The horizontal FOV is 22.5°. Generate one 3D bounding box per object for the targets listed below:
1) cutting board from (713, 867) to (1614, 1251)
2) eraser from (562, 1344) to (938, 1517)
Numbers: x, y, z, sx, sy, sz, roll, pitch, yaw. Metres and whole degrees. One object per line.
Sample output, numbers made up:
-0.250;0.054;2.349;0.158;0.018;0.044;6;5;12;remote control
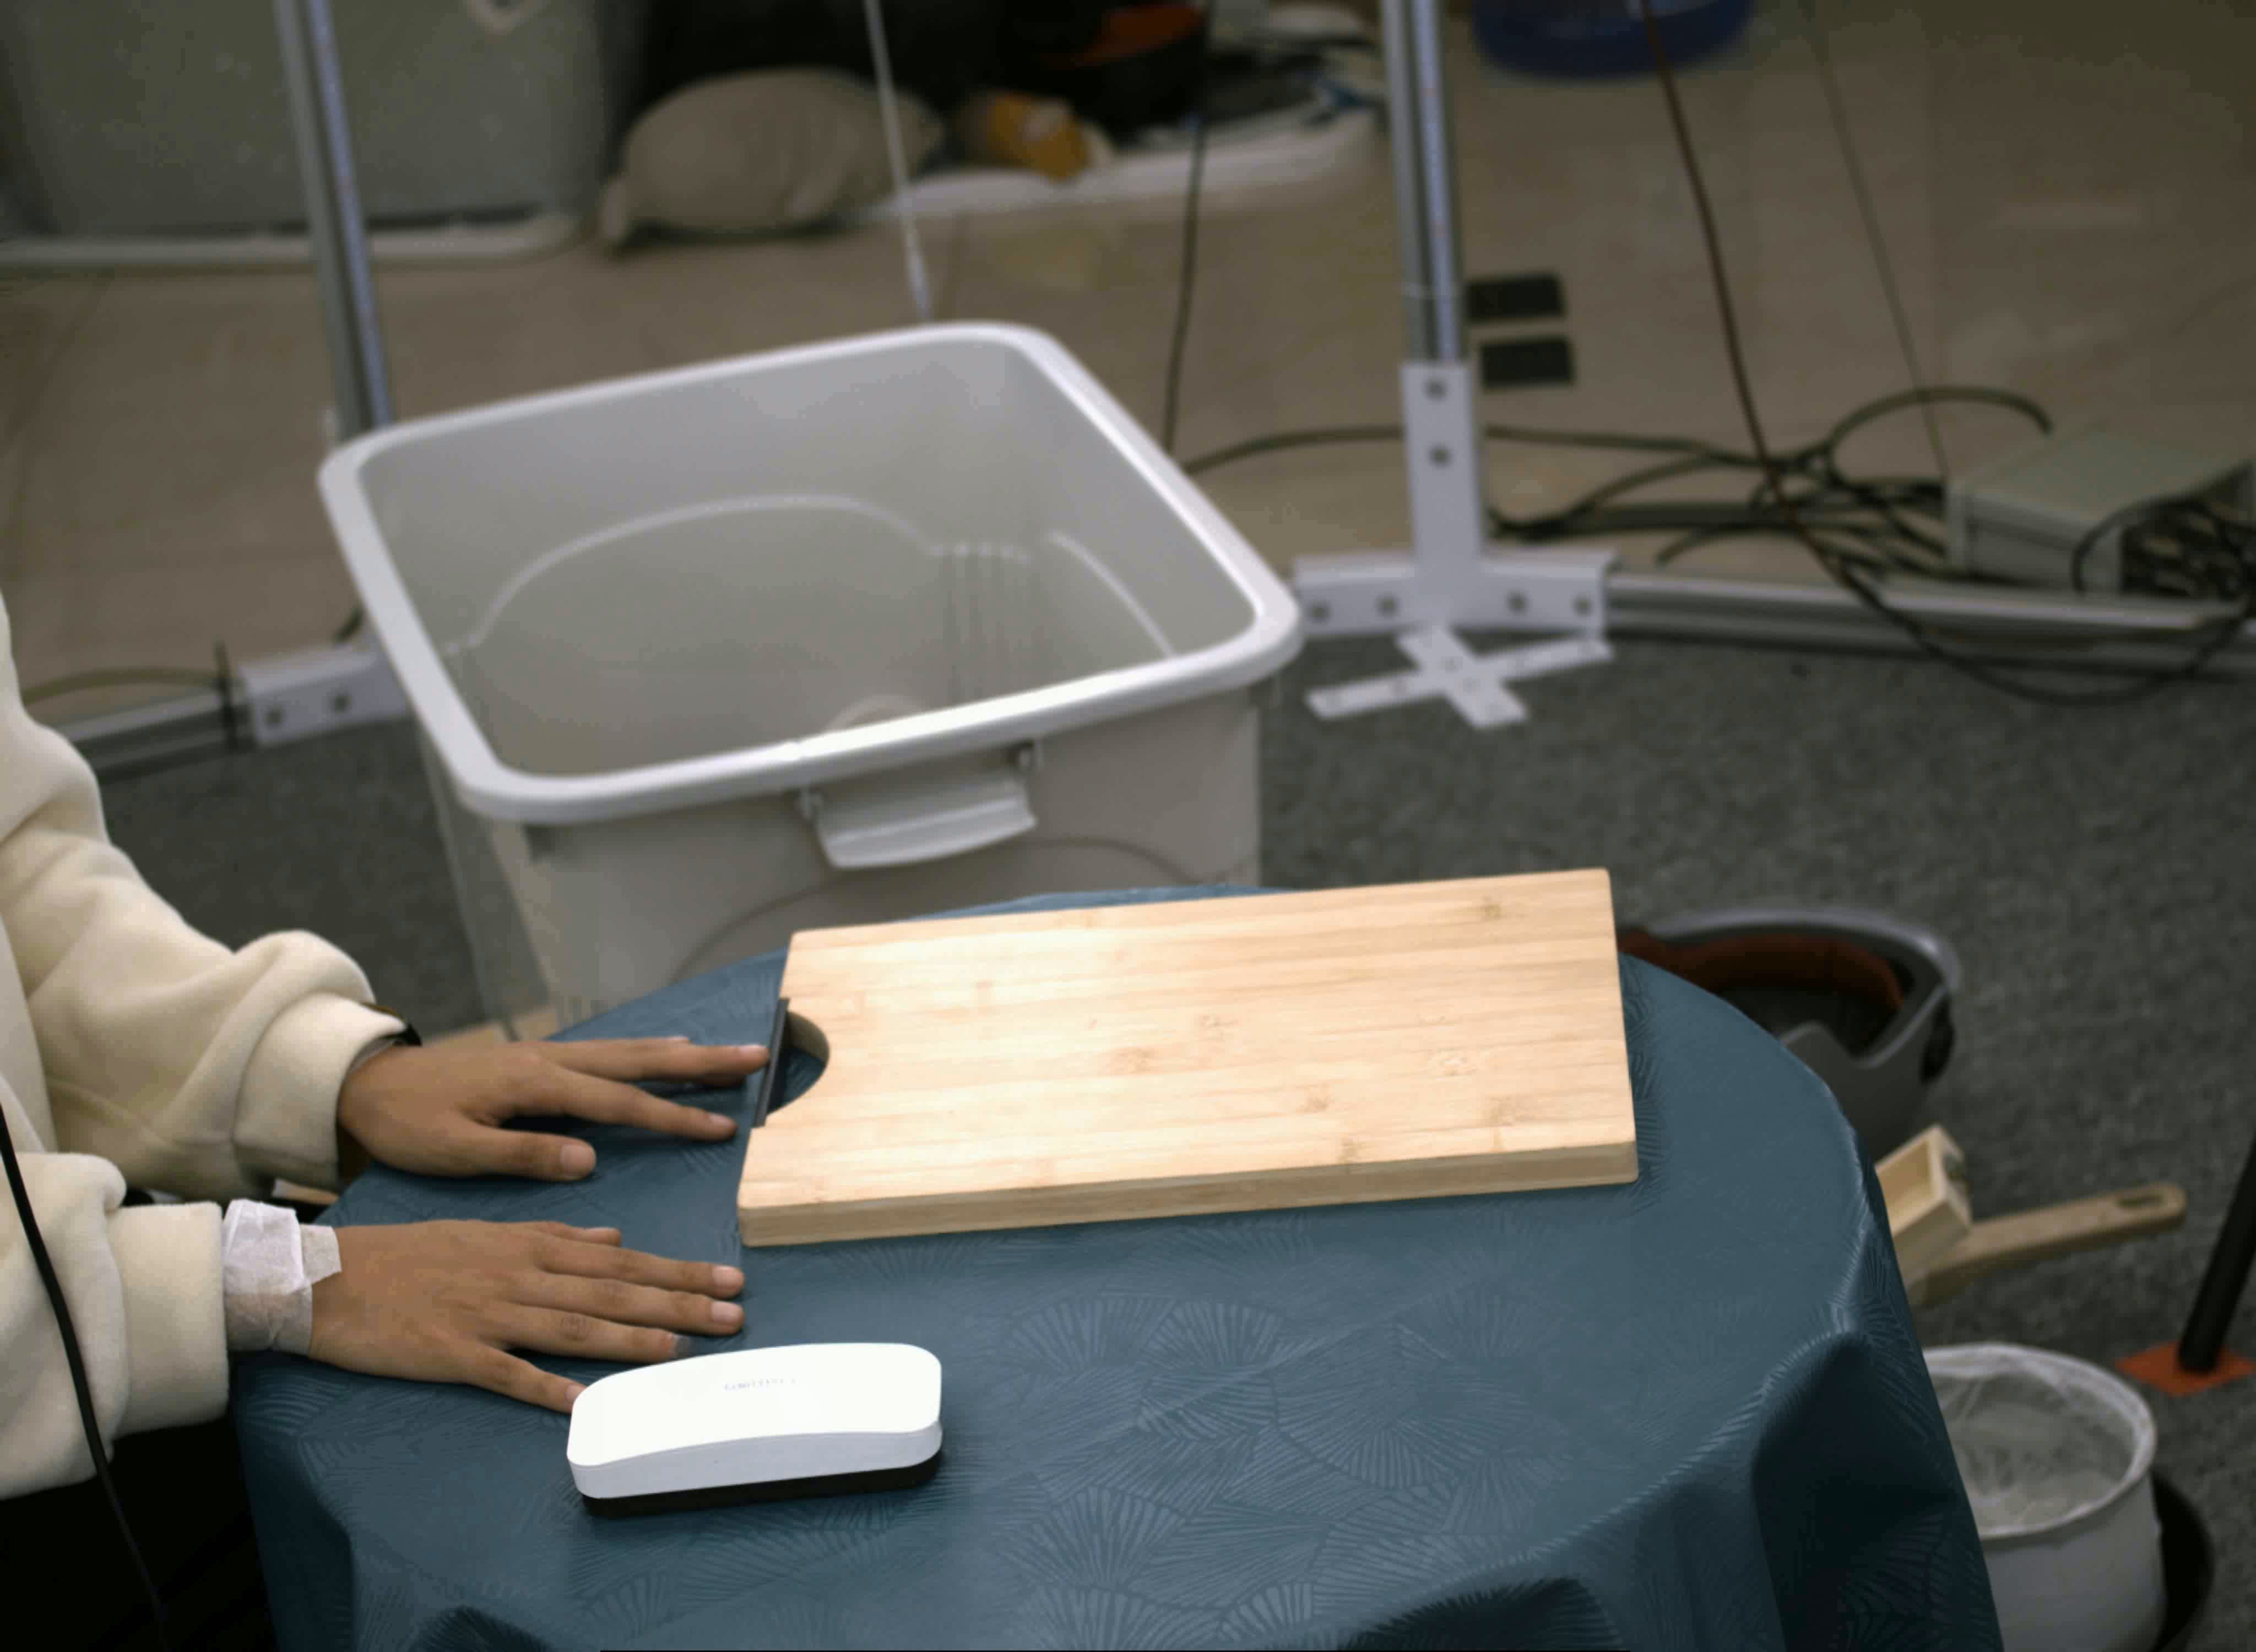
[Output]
0.020;0.090;2.231;0.348;0.024;0.247;-5;25;4;cutting board
-0.131;0.211;1.990;0.131;0.035;0.062;-5;25;2;eraser
